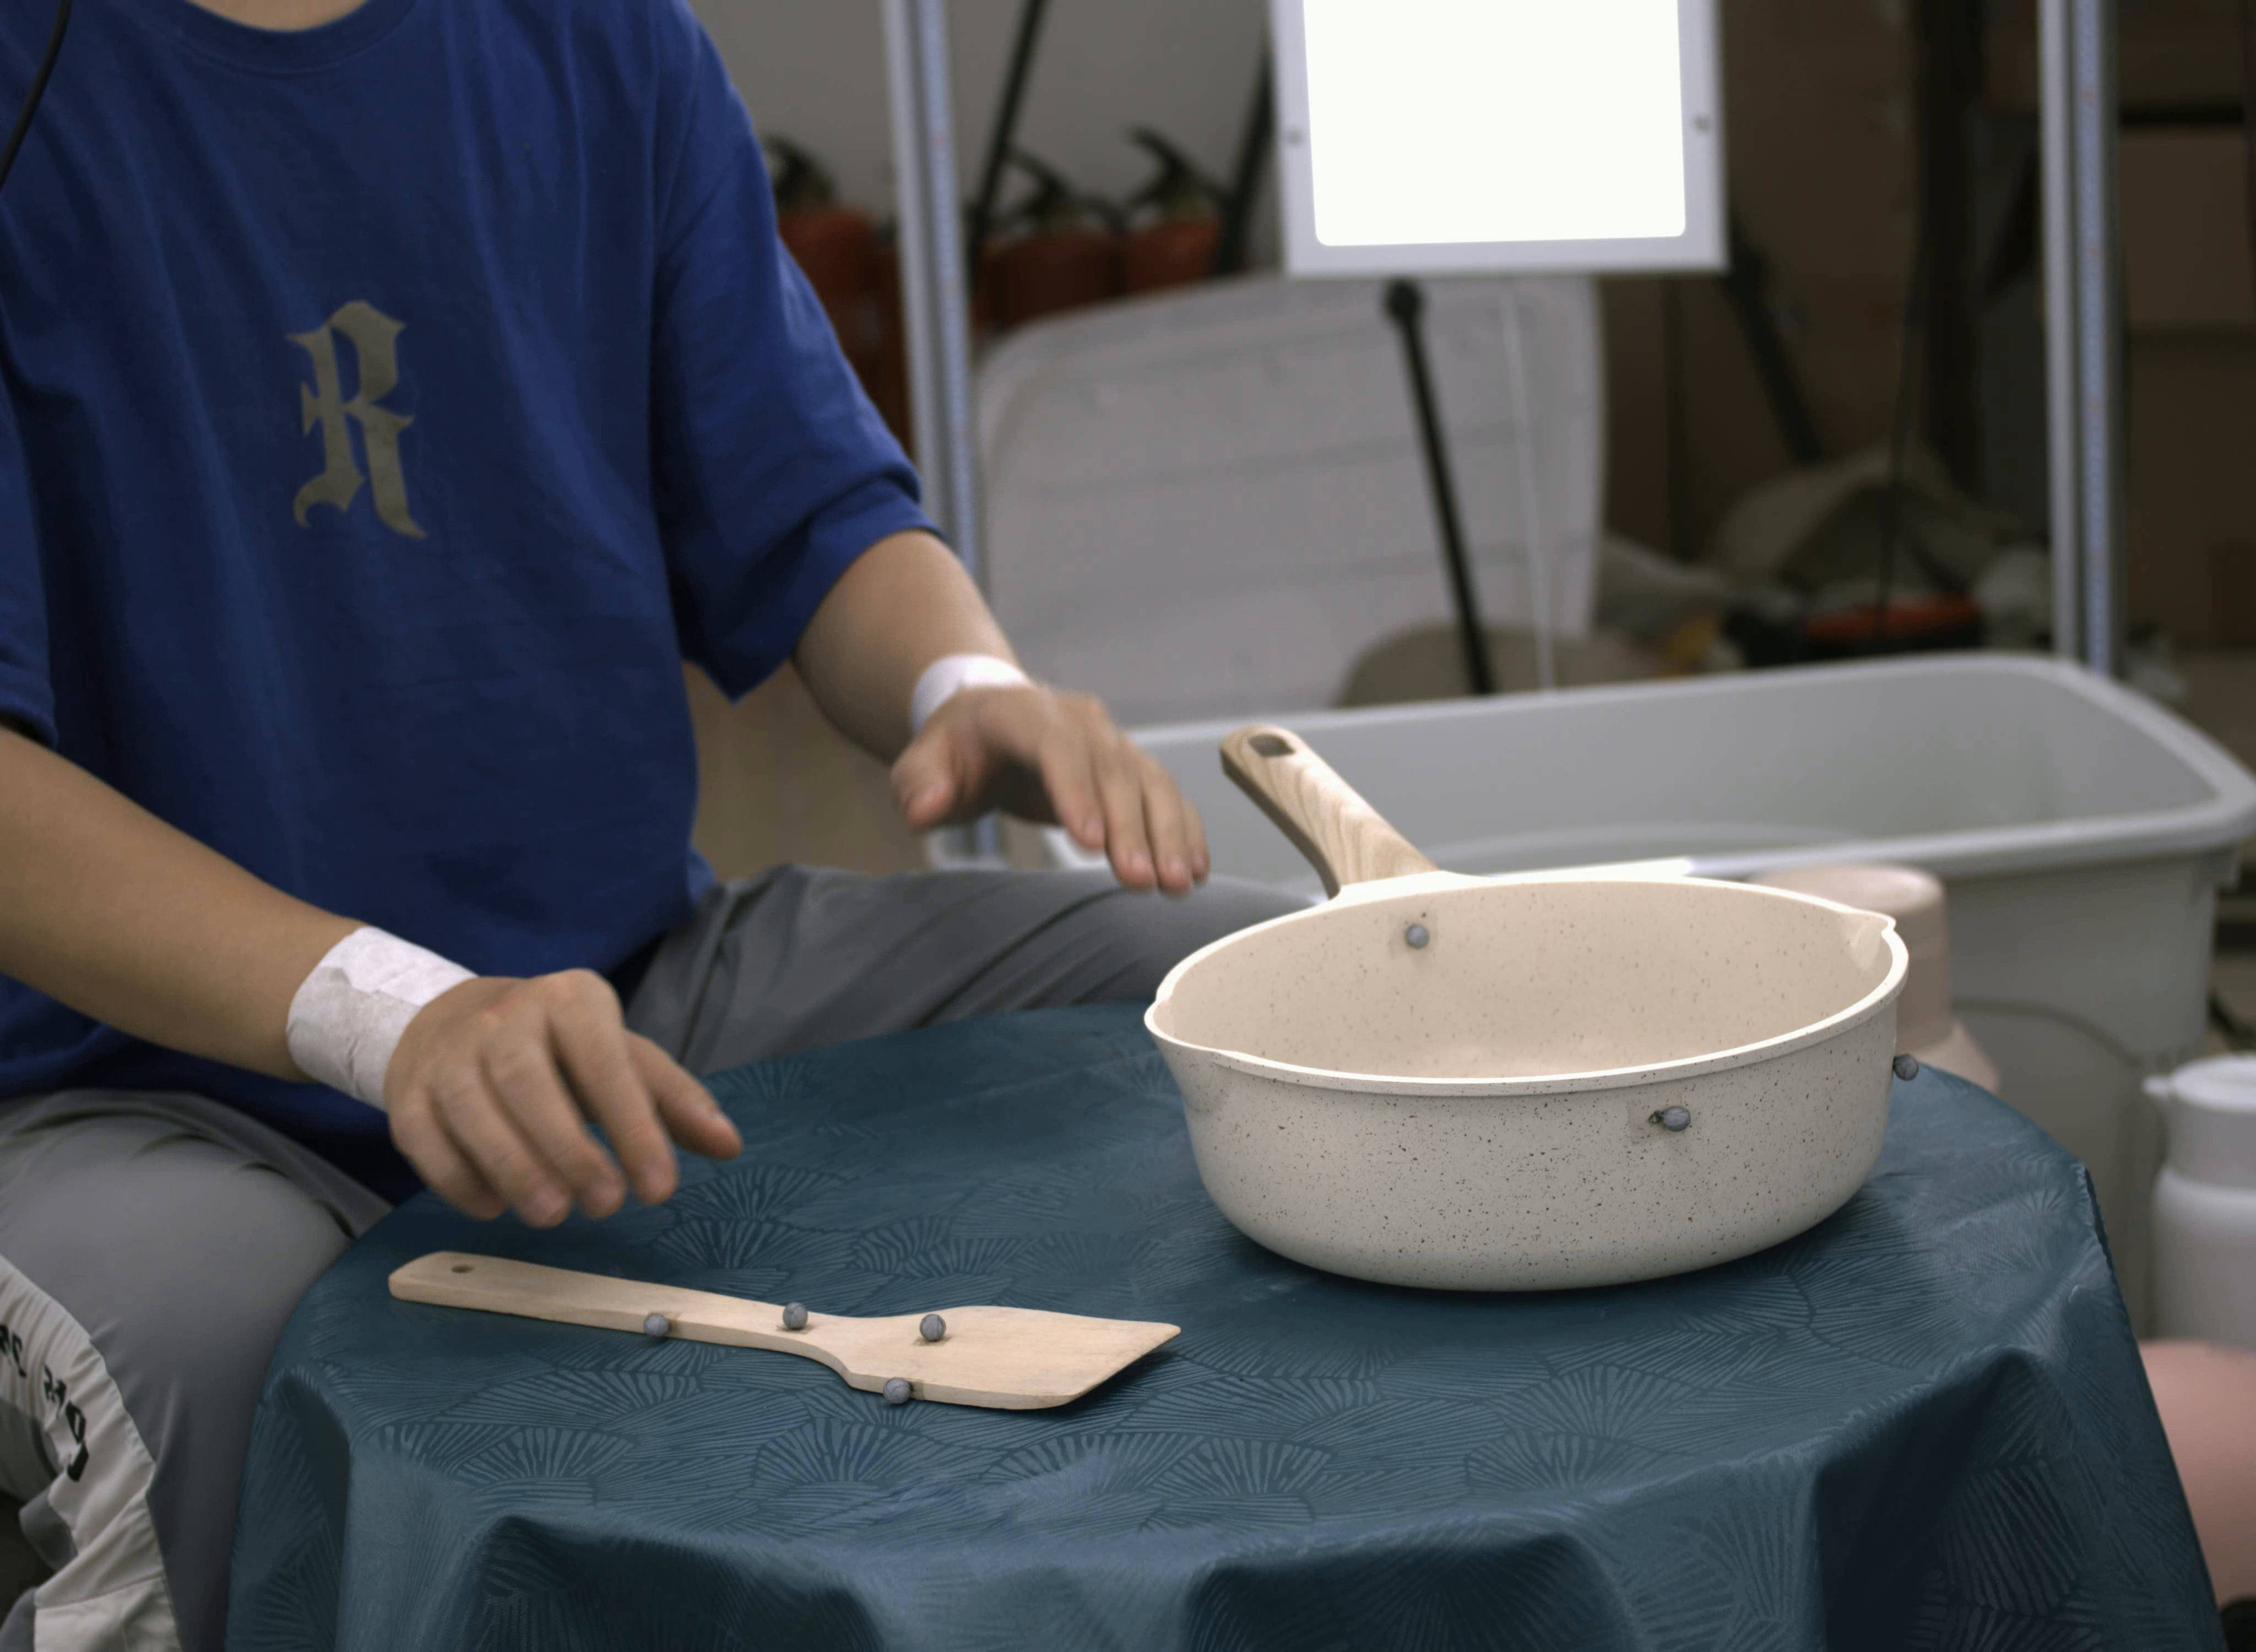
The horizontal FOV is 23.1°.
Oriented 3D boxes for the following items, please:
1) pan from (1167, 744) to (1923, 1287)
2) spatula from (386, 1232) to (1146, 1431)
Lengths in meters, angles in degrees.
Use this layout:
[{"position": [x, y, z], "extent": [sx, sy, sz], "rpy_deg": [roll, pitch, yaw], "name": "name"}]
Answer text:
[{"position": [0.115, 0.060, 1.921], "extent": [0.260, 0.102, 0.439], "rpy_deg": [-11, 14, -15], "name": "pan"}, {"position": [-0.129, 0.160, 1.785], "extent": [0.299, 0.011, 0.070], "rpy_deg": [7, 21, 37], "name": "spatula"}]
